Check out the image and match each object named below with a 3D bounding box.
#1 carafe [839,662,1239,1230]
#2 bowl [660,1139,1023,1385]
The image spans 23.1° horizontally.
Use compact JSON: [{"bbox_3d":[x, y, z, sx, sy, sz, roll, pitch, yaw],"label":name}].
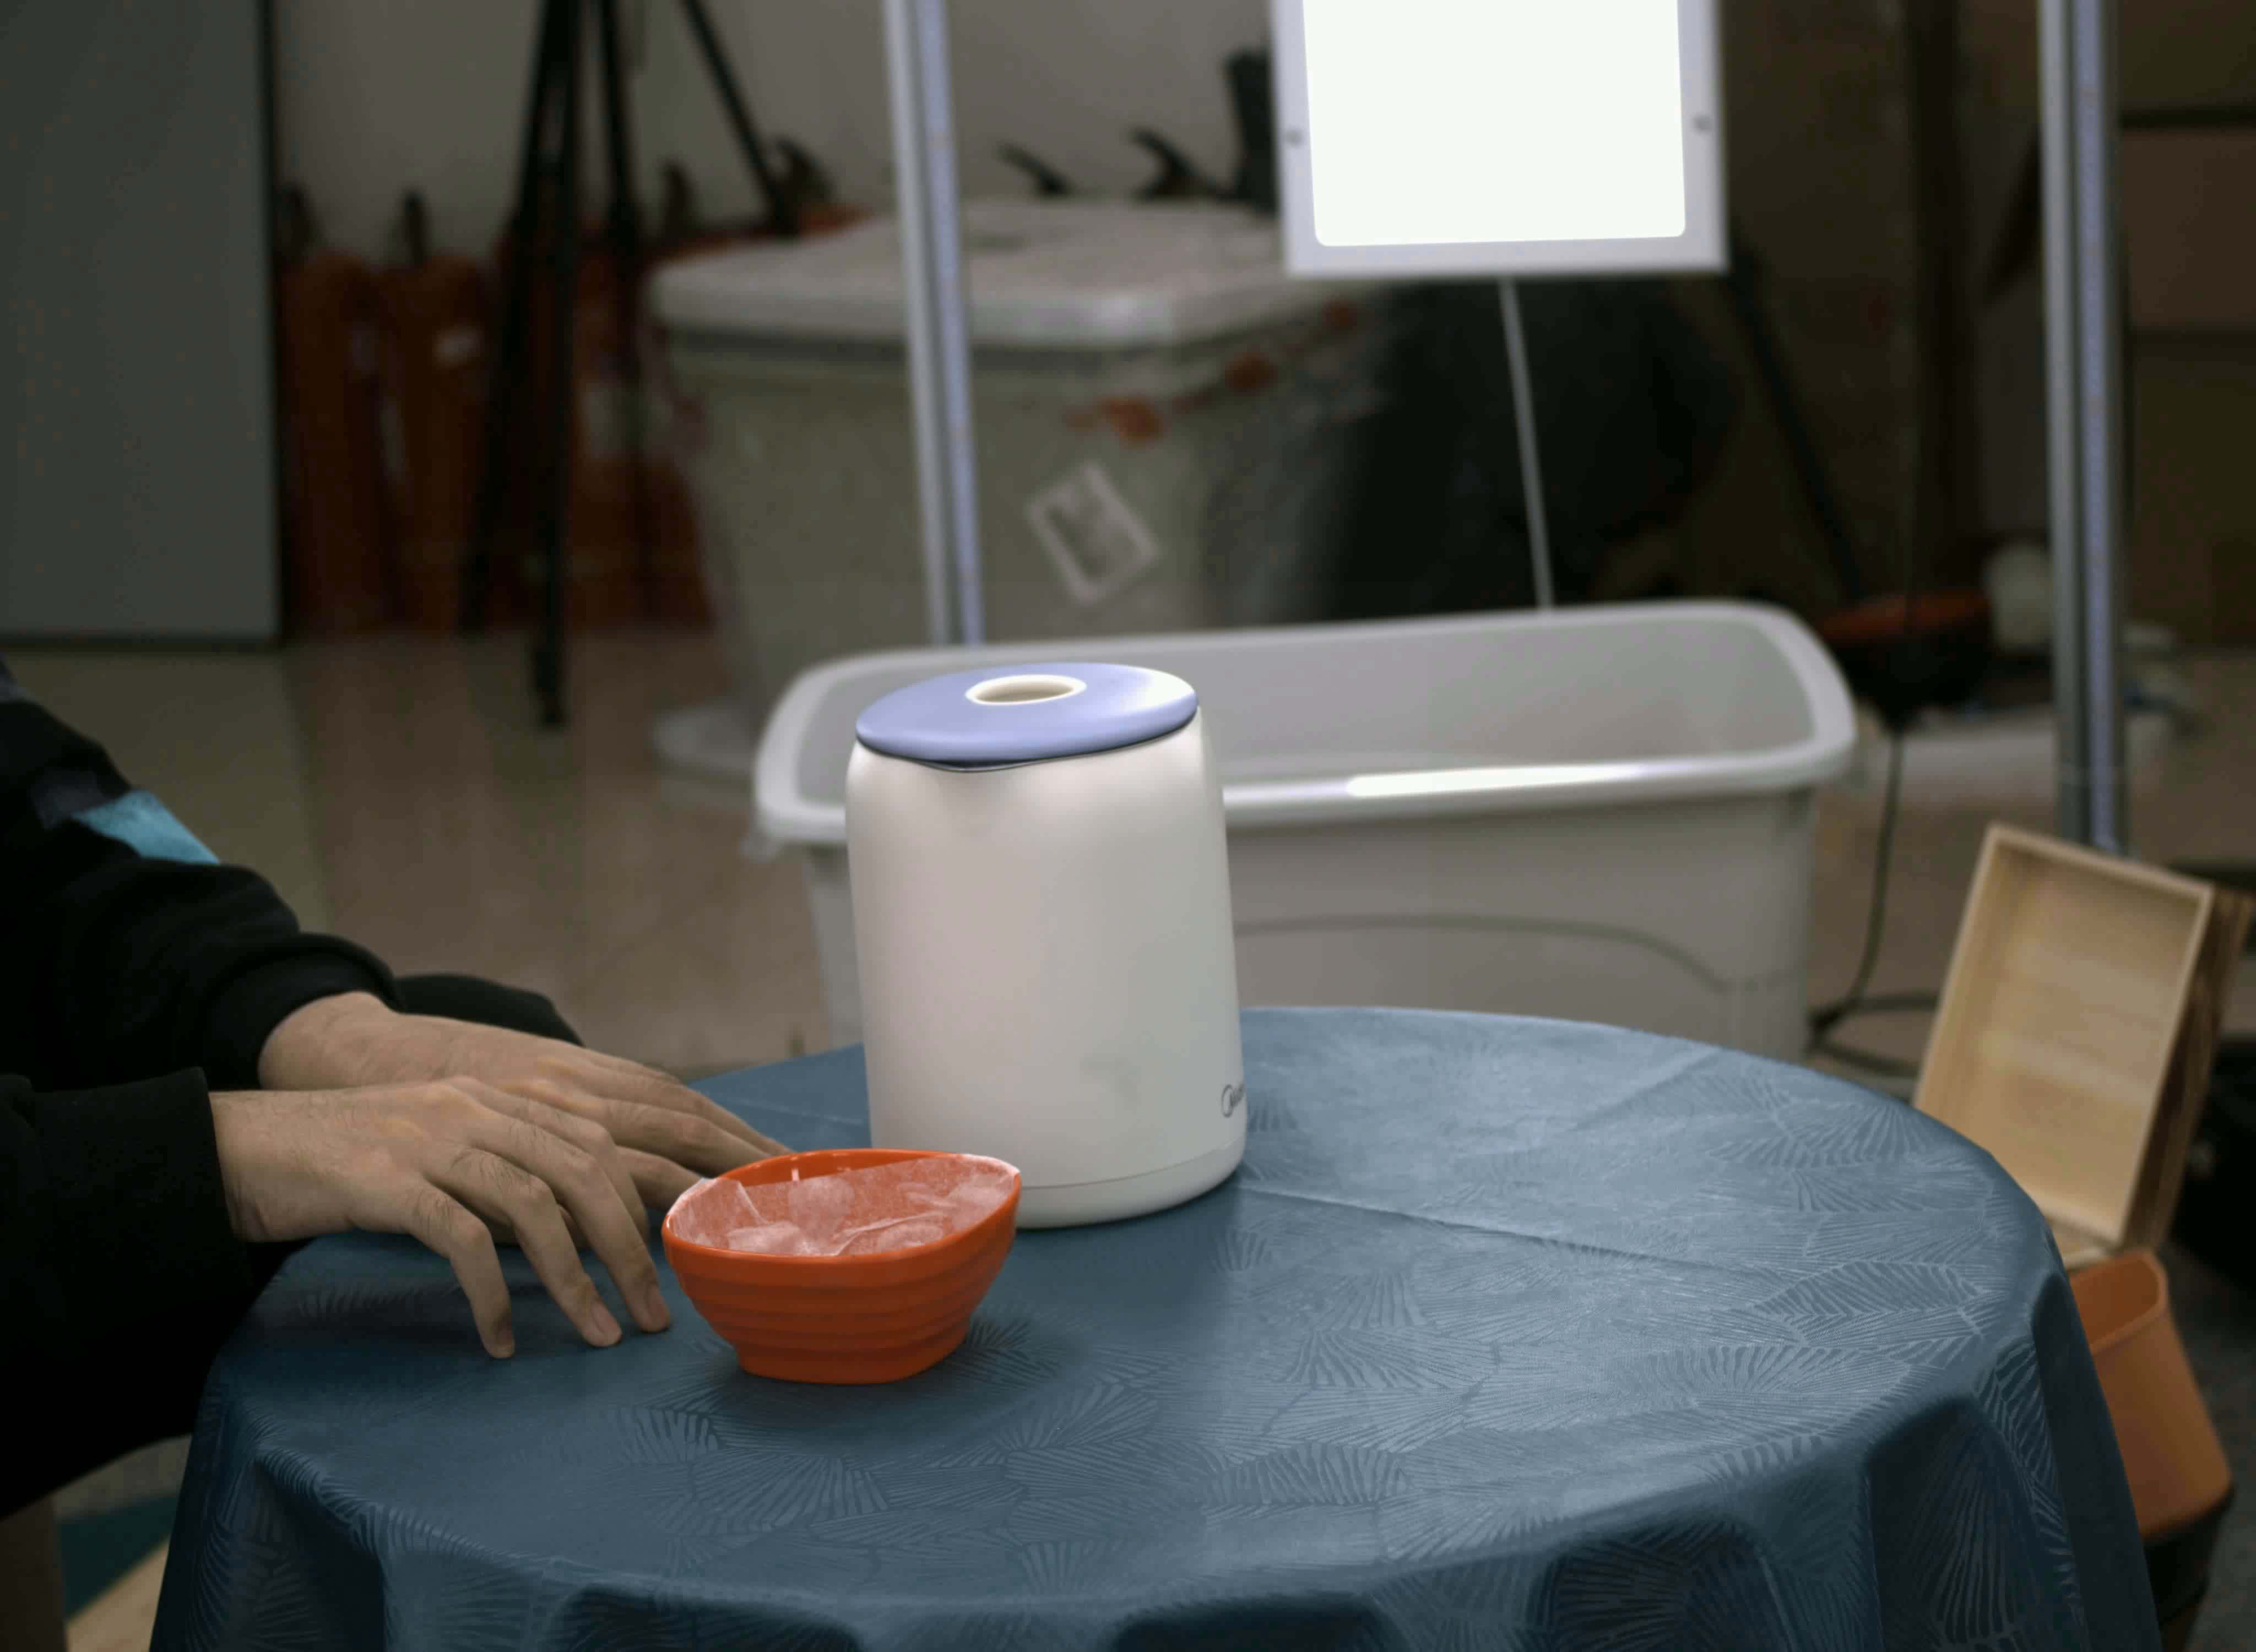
[{"bbox_3d":[-0.024,0.035,1.920,0.133,0.183,0.188,1,12,16],"label":"carafe"},{"bbox_3d":[-0.089,0.141,1.755,0.118,0.051,0.119,-4,16,0],"label":"bowl"}]
